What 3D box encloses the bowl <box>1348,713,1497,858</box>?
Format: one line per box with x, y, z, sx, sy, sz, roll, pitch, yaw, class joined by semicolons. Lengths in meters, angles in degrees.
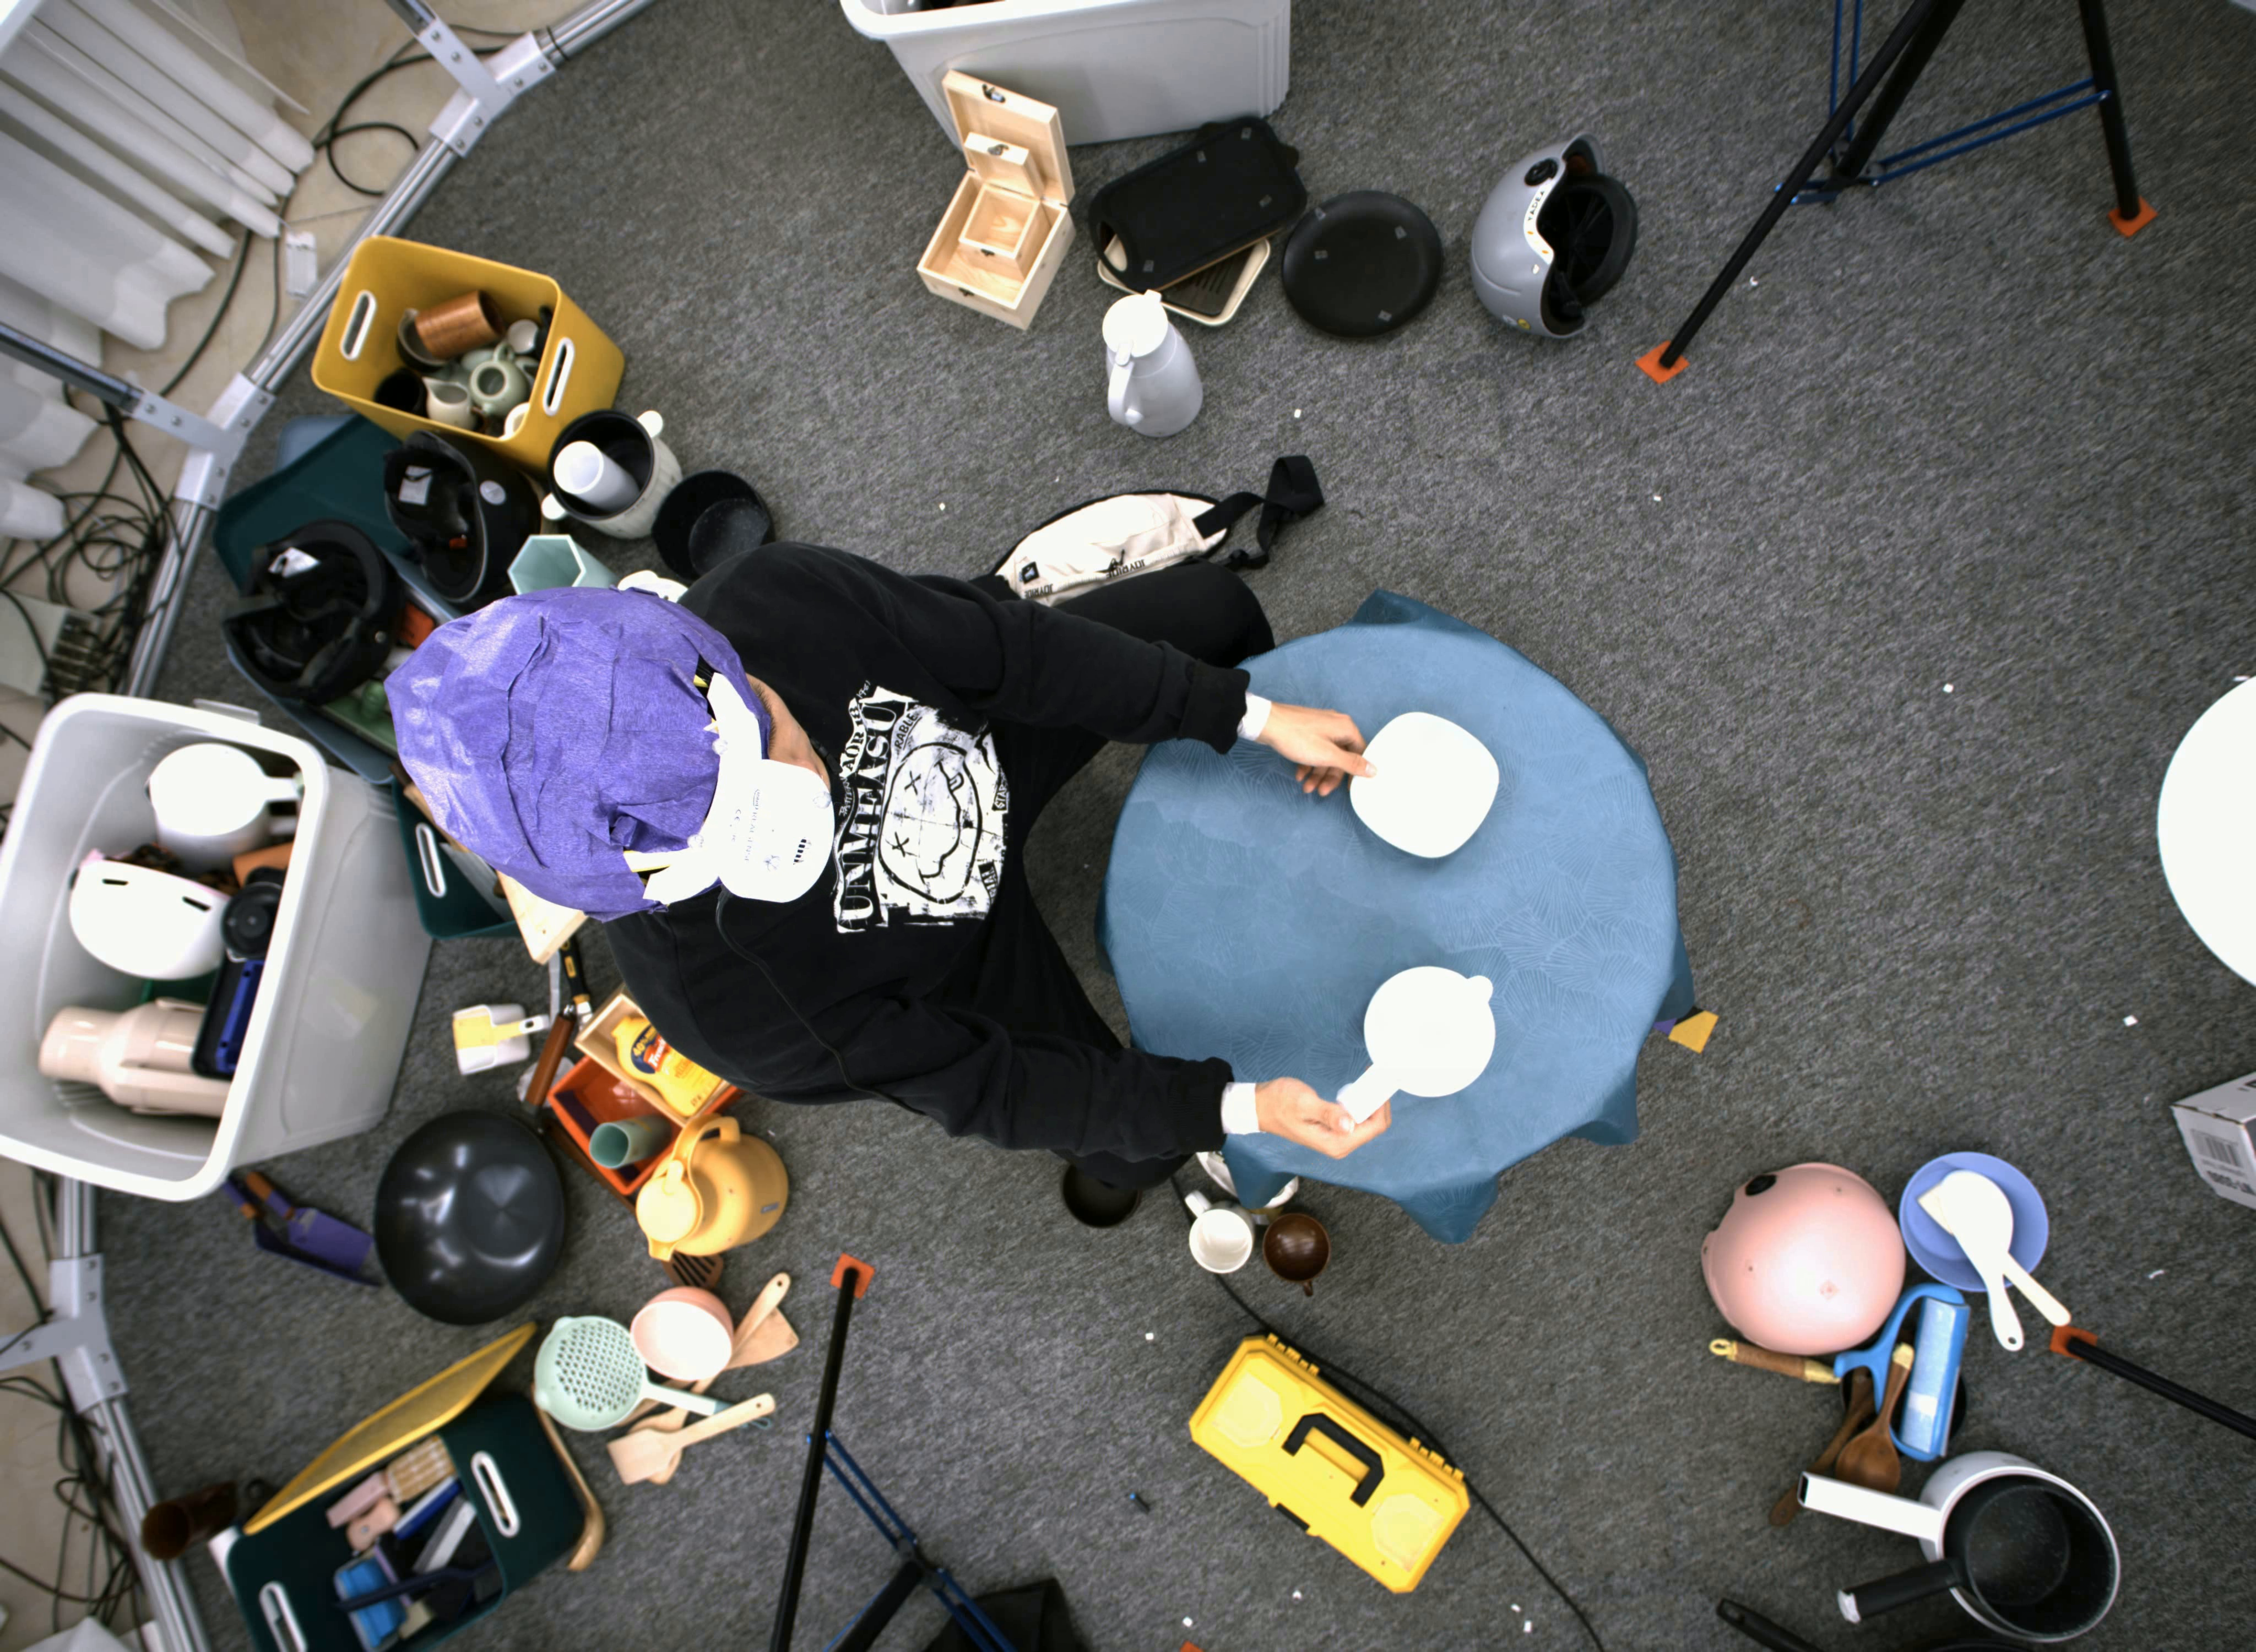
0.305;-0.041;1.432;0.152;0.058;0.151;-1;86;10;bowl

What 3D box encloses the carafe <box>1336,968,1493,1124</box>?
0.272;0.206;1.319;0.173;0.269;0.123;-45;81;4;carafe
